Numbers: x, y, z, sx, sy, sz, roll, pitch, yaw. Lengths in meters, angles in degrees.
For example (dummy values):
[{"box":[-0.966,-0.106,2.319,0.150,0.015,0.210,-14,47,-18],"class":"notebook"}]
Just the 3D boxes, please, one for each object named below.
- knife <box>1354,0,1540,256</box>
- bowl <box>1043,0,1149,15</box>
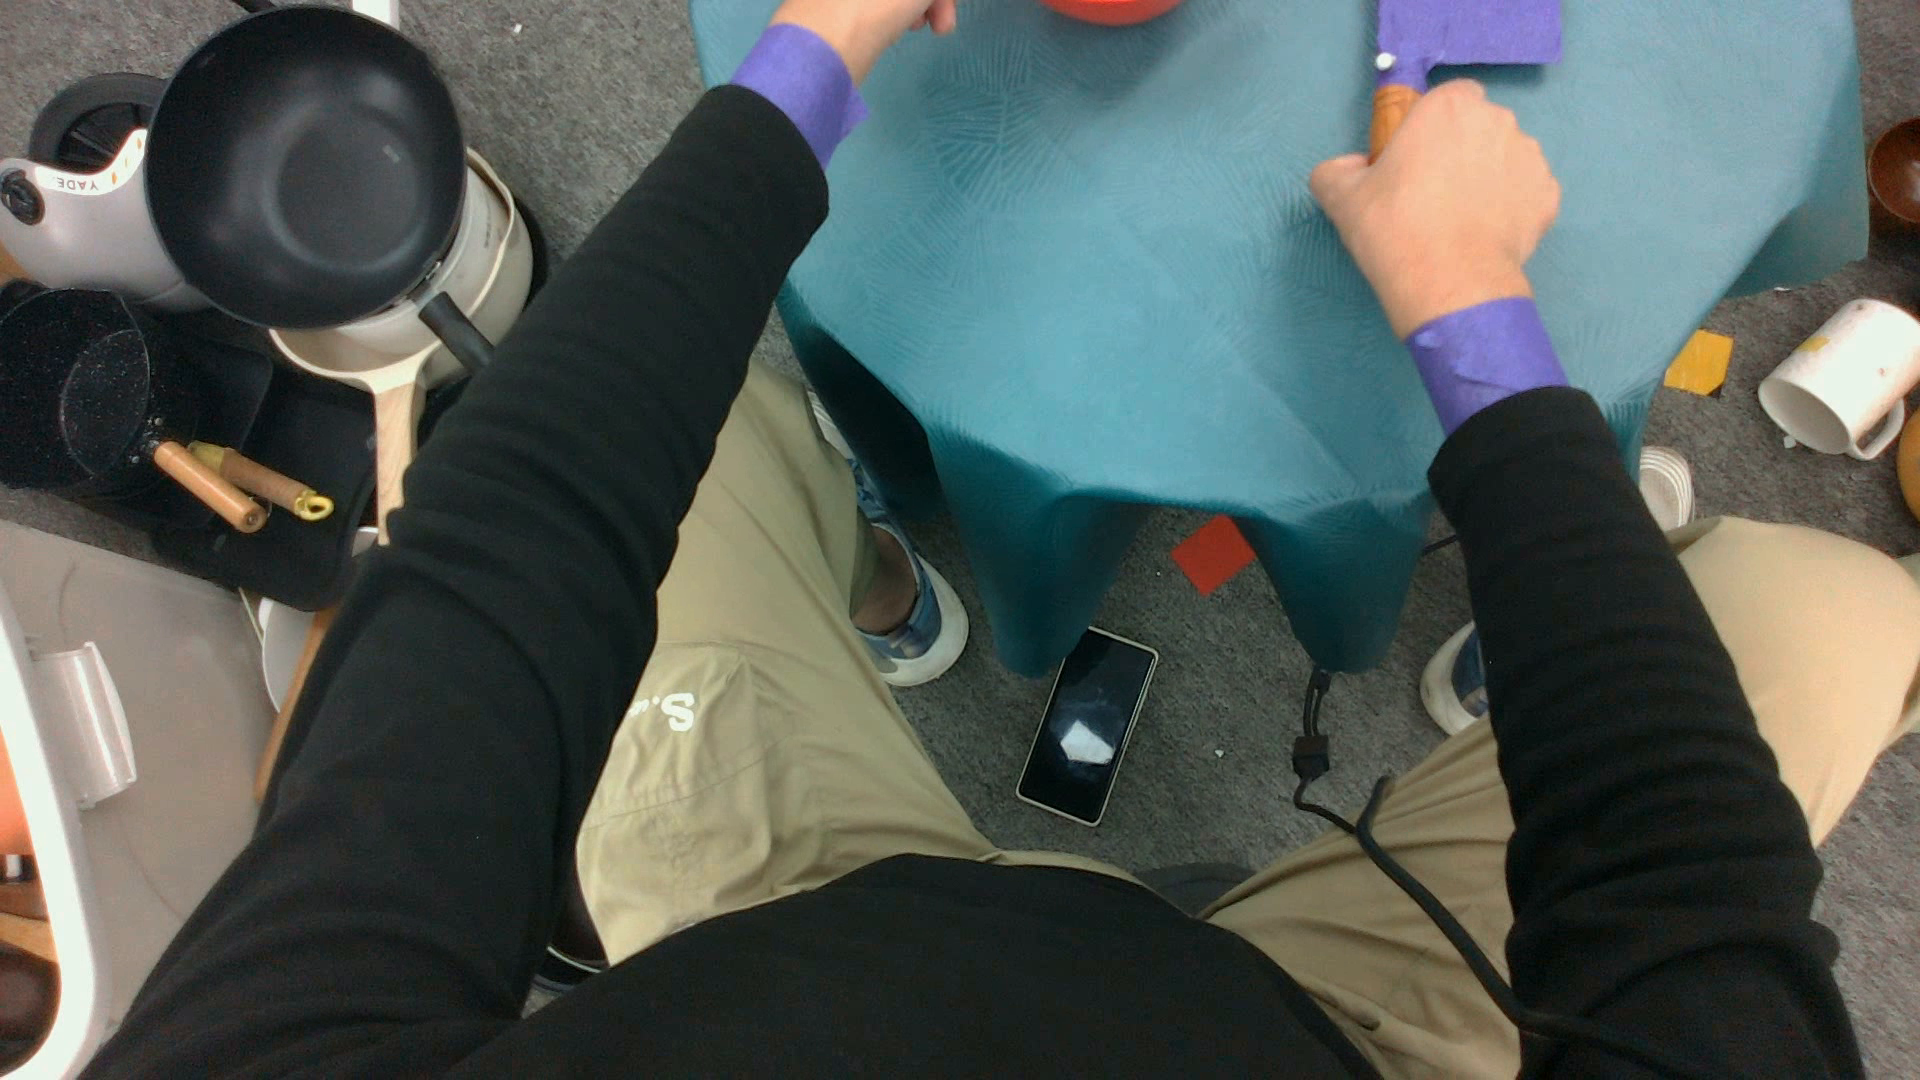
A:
[{"box":[0.244,-0.298,0.698,0.104,0.032,0.316,-1,79,7],"class":"knife"},{"box":[0.061,-0.327,0.689,0.148,0.104,0.148,-1,81,4],"class":"bowl"}]
